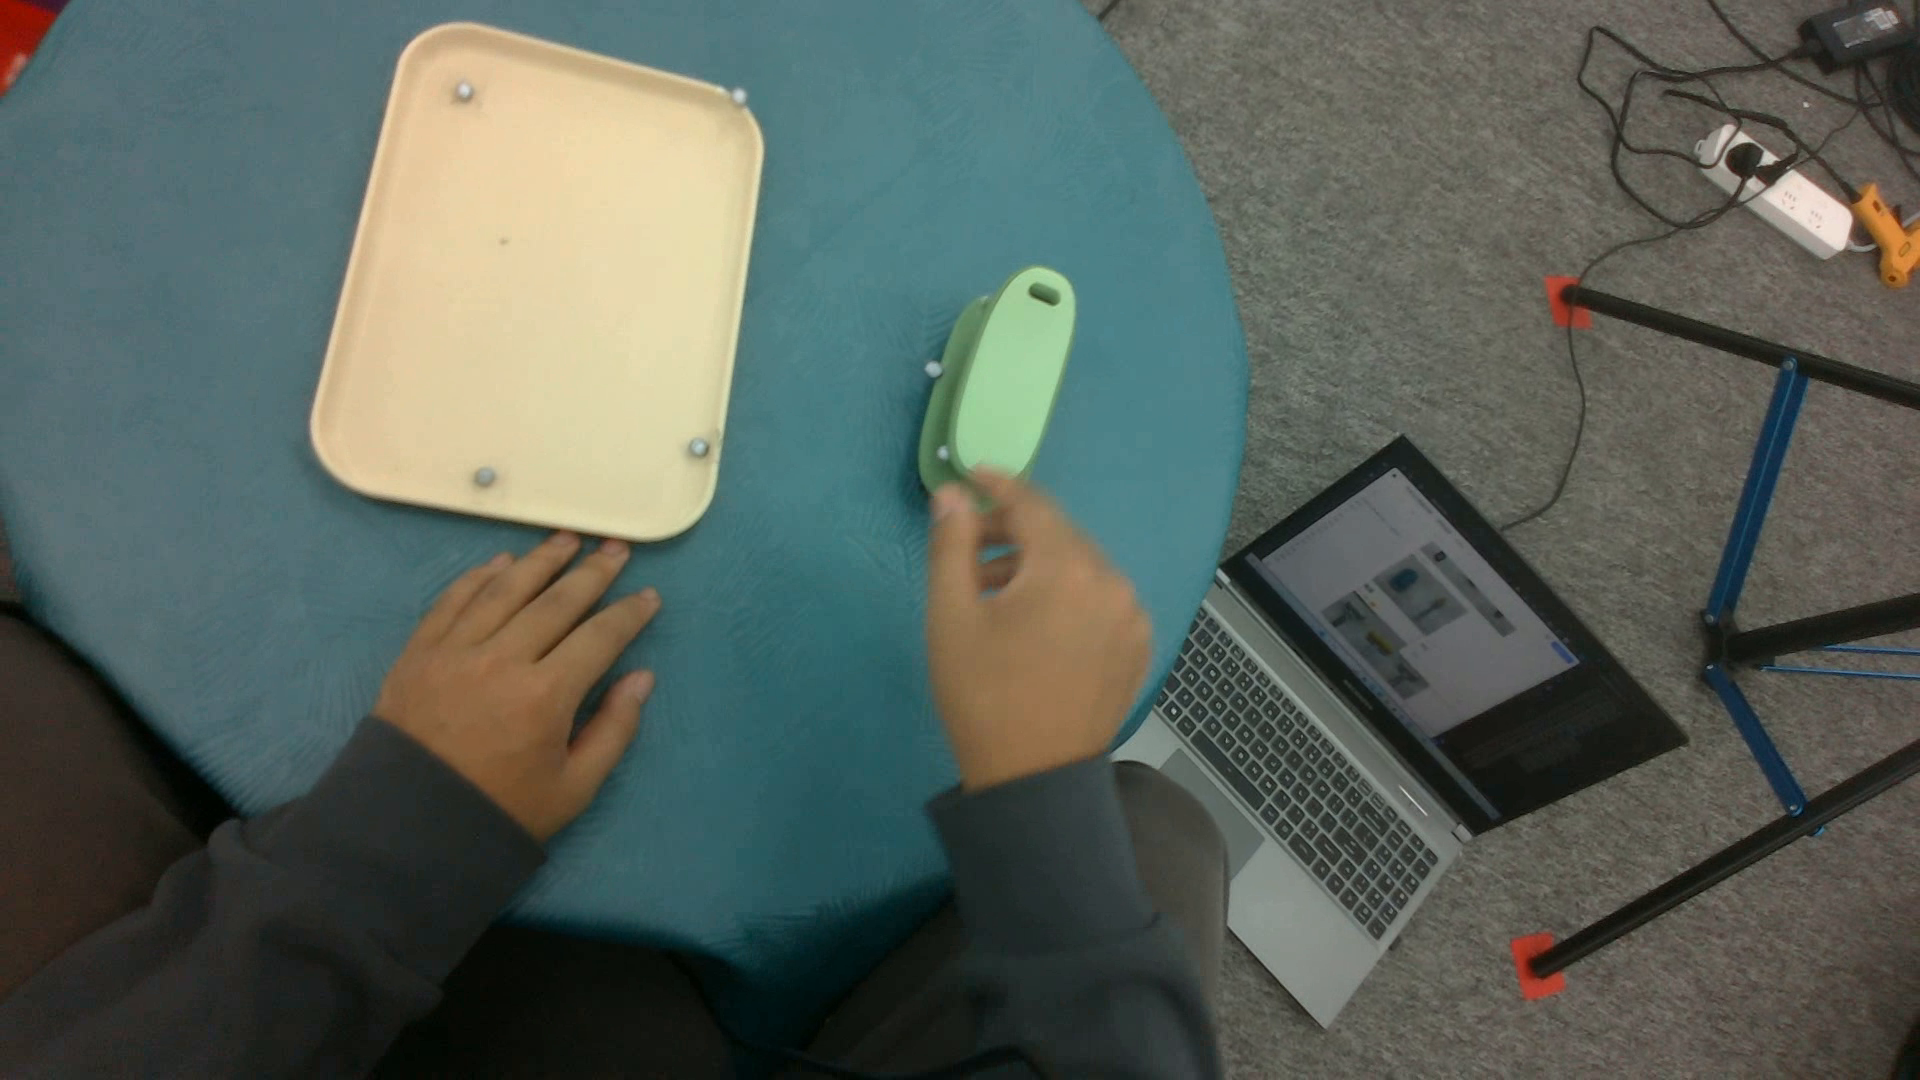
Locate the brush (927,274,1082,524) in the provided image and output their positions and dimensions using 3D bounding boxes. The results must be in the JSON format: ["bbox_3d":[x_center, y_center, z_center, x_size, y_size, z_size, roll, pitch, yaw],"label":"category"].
[{"bbox_3d":[0.021,-0.068,0.689,0.059,0.075,0.123,17,84,-11],"label":"brush"}]

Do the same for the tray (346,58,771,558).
[{"bbox_3d":[-0.184,-0.112,0.657,0.171,0.017,0.240,9,73,-14],"label":"tray"}]
